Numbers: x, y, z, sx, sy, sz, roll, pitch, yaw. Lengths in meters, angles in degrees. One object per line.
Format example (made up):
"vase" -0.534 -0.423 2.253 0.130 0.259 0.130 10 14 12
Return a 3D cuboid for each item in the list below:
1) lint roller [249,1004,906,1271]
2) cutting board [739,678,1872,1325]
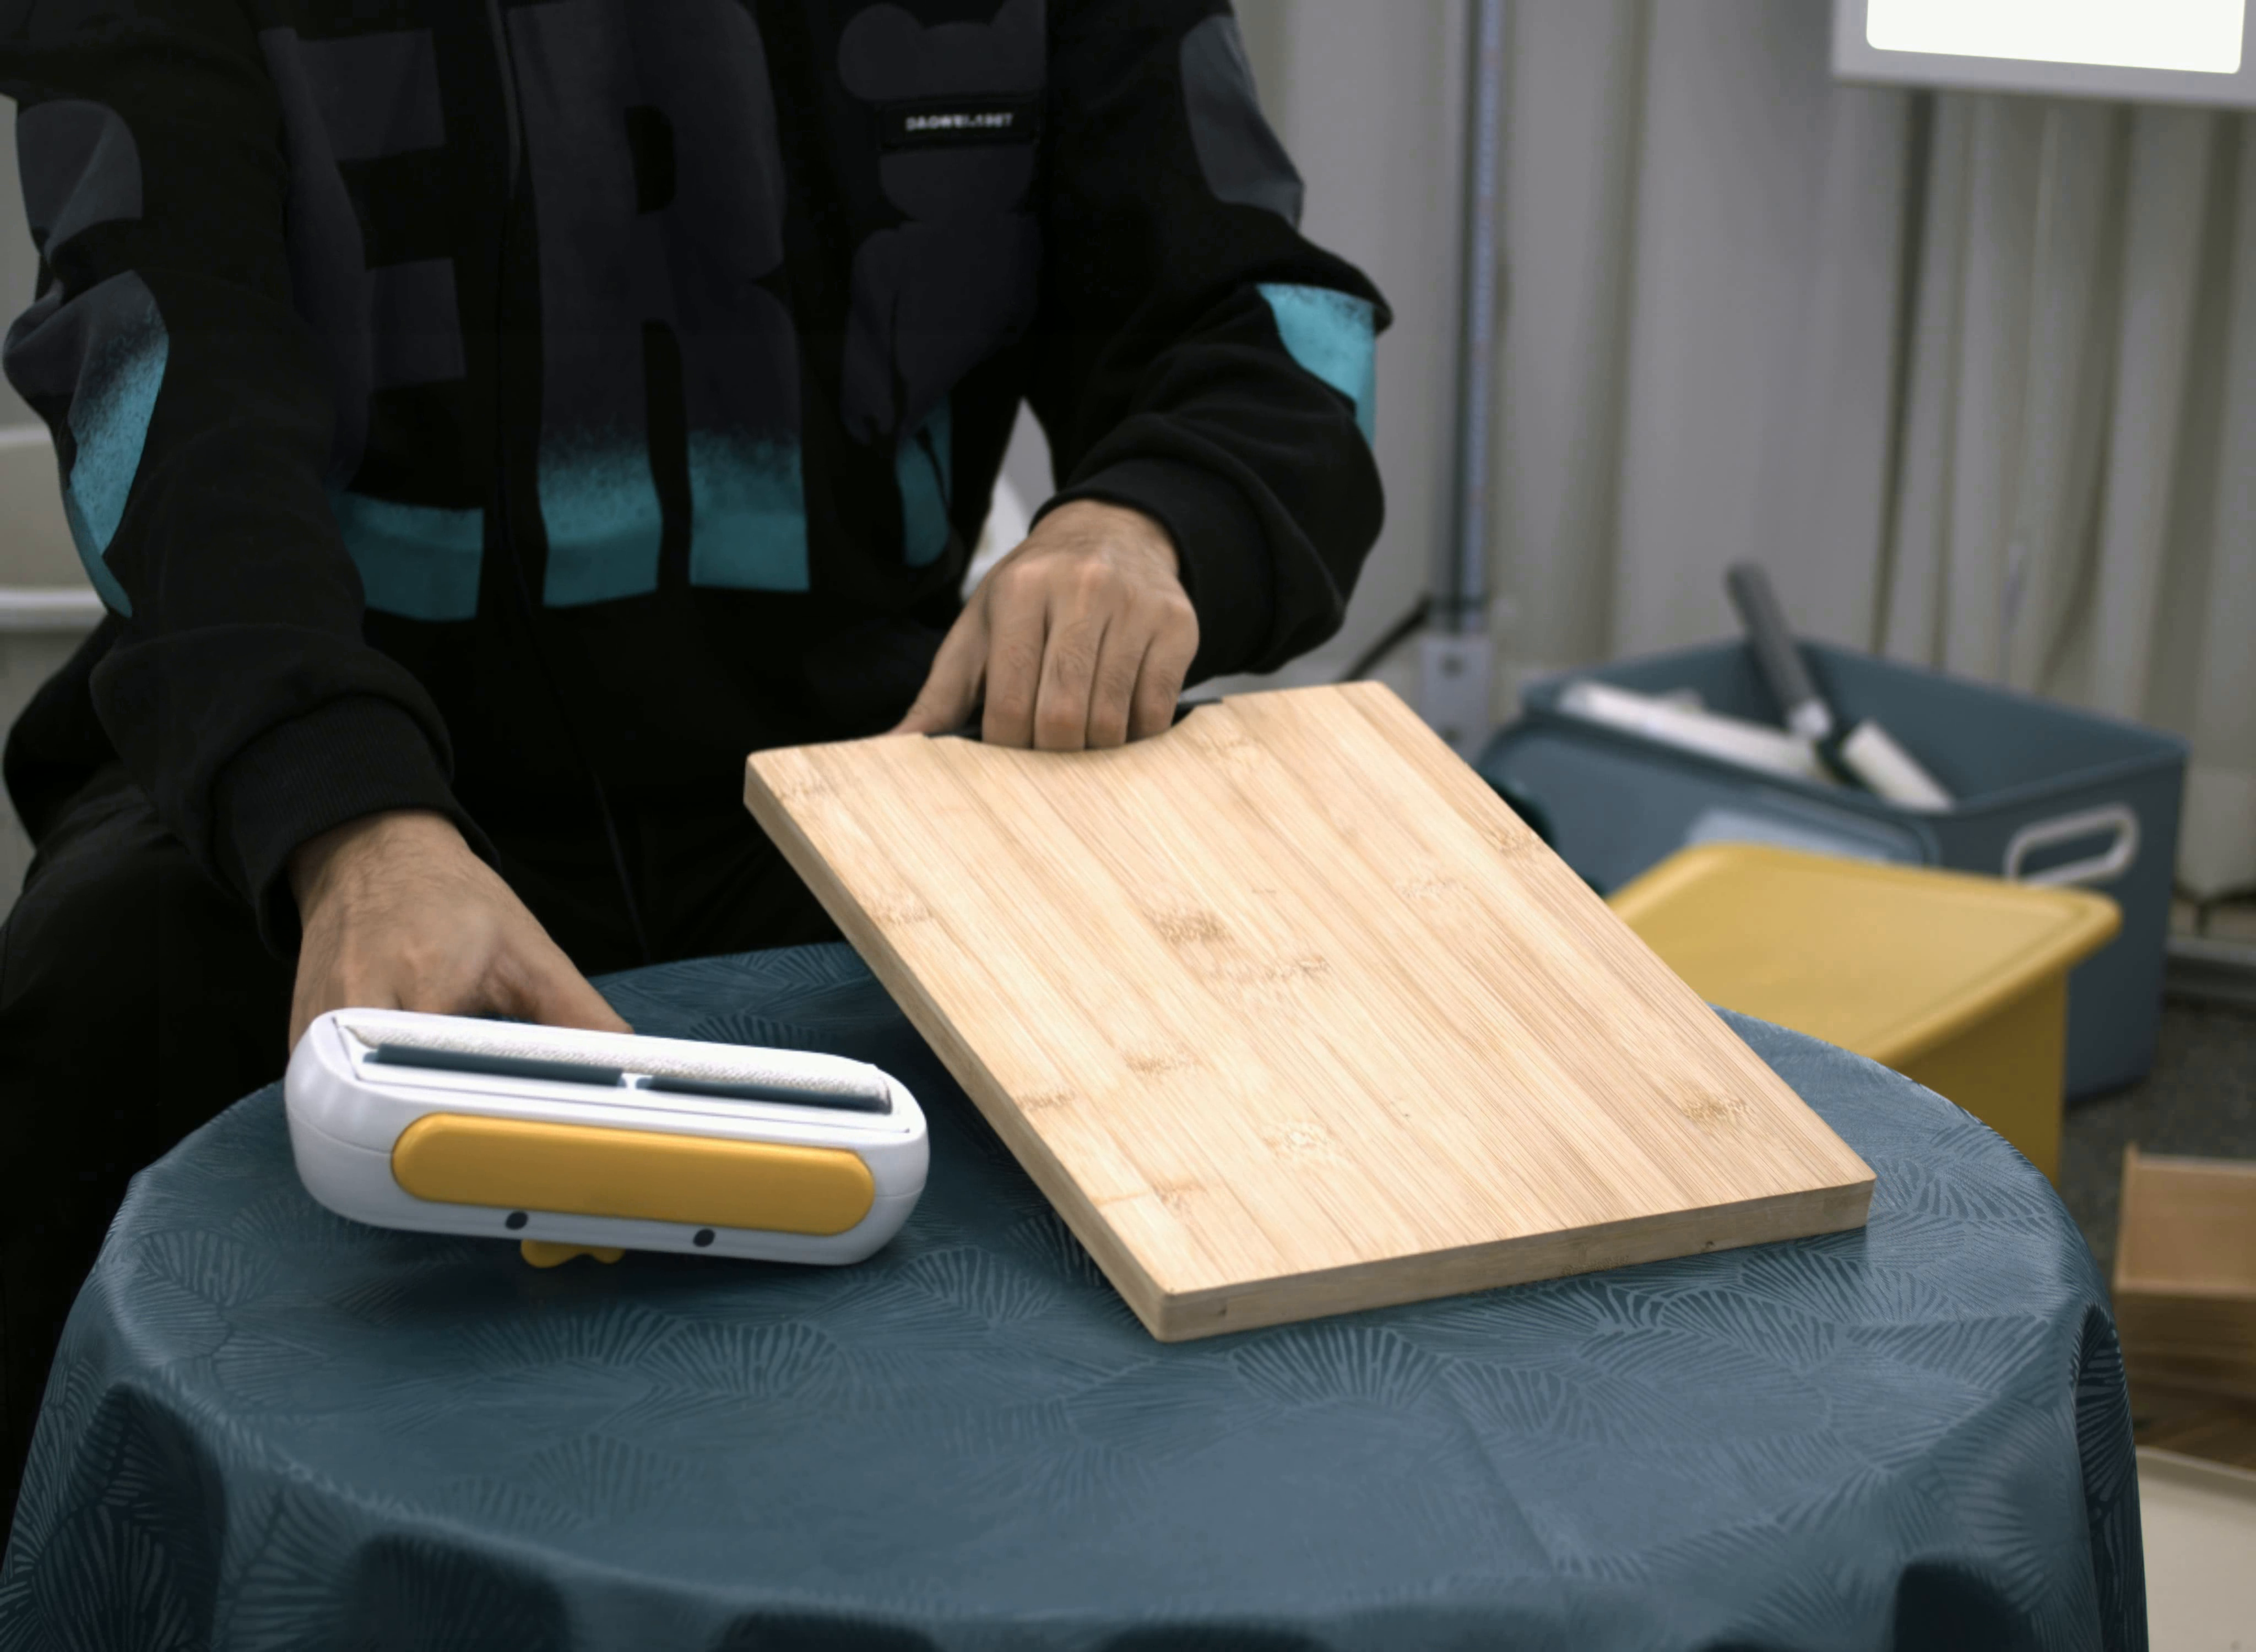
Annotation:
"lint roller" -0.176 0.083 1.589 0.193 0.074 0.190 4 13 -18
"cutting board" 0.047 0.047 1.677 0.251 0.024 0.344 -7 31 -25
